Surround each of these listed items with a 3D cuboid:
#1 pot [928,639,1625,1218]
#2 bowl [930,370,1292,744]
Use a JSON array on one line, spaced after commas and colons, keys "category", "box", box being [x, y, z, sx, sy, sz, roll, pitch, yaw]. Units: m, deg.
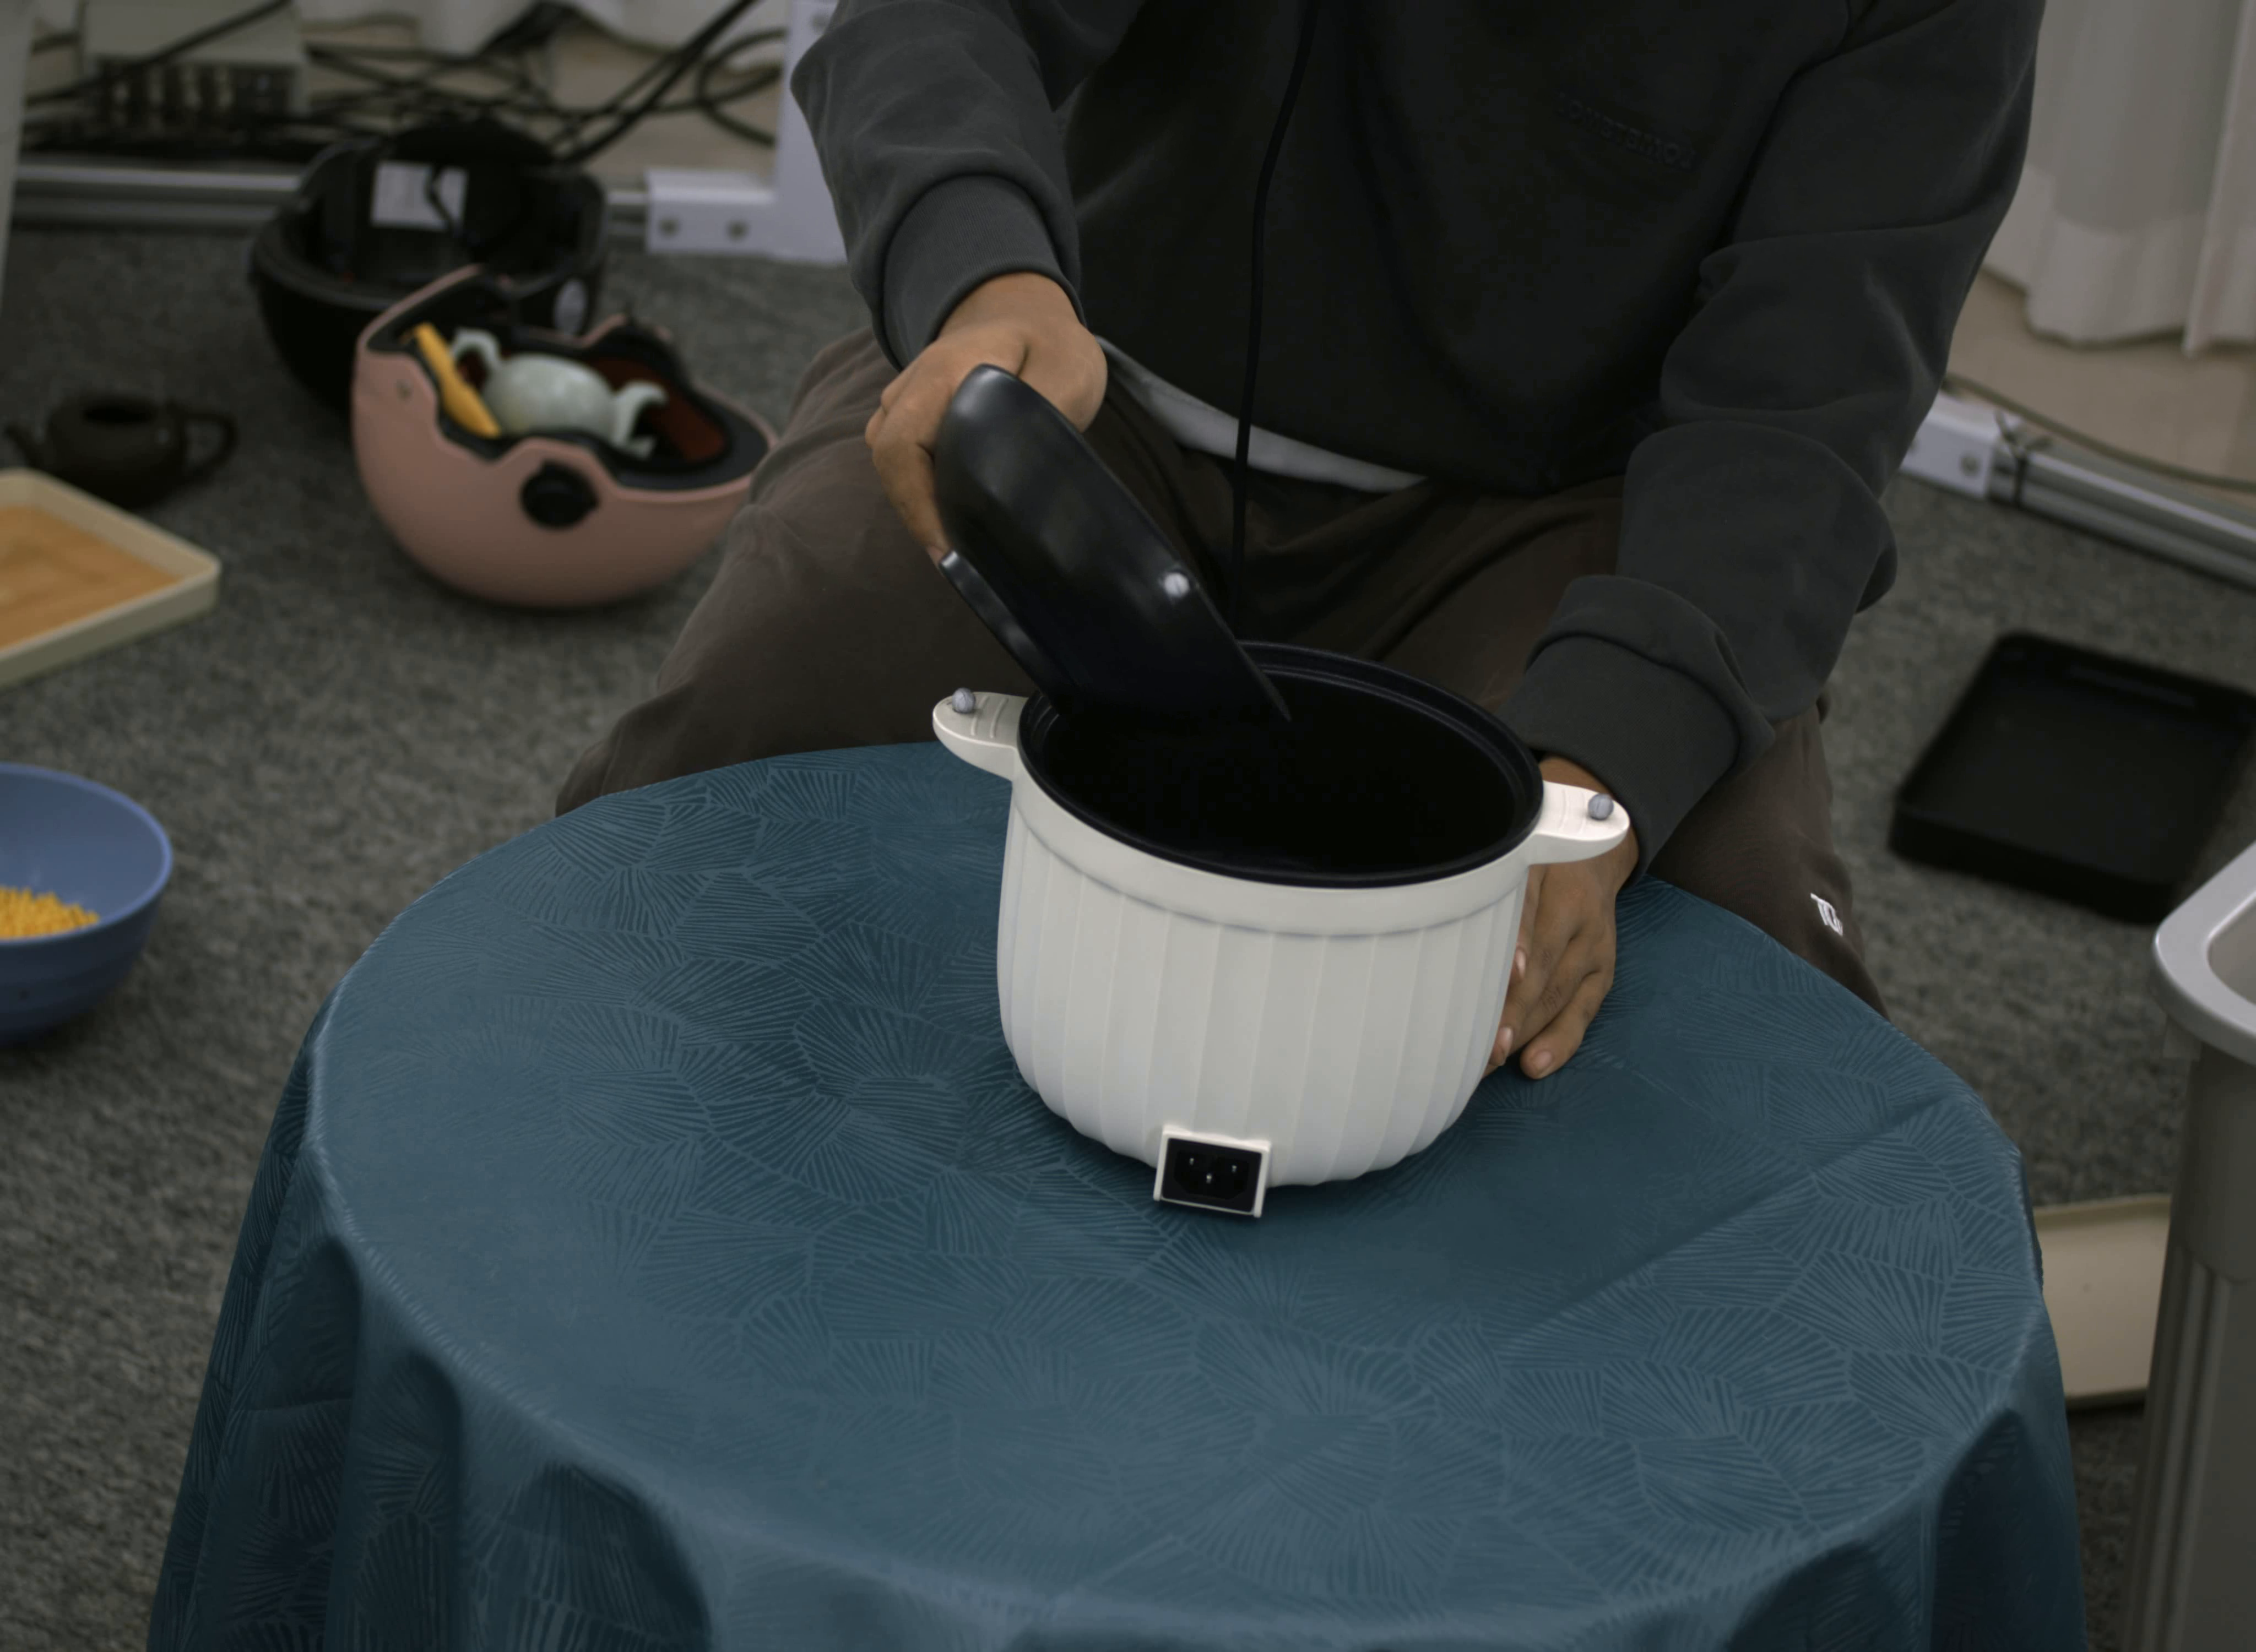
[{"category": "pot", "box": [0.043, 0.032, 1.846, 0.240, 0.142, 0.191, 10, 30, 3]}, {"category": "bowl", "box": [-0.019, -0.082, 1.789, 0.066, 0.136, 0.172, -41, 60, -1]}]
